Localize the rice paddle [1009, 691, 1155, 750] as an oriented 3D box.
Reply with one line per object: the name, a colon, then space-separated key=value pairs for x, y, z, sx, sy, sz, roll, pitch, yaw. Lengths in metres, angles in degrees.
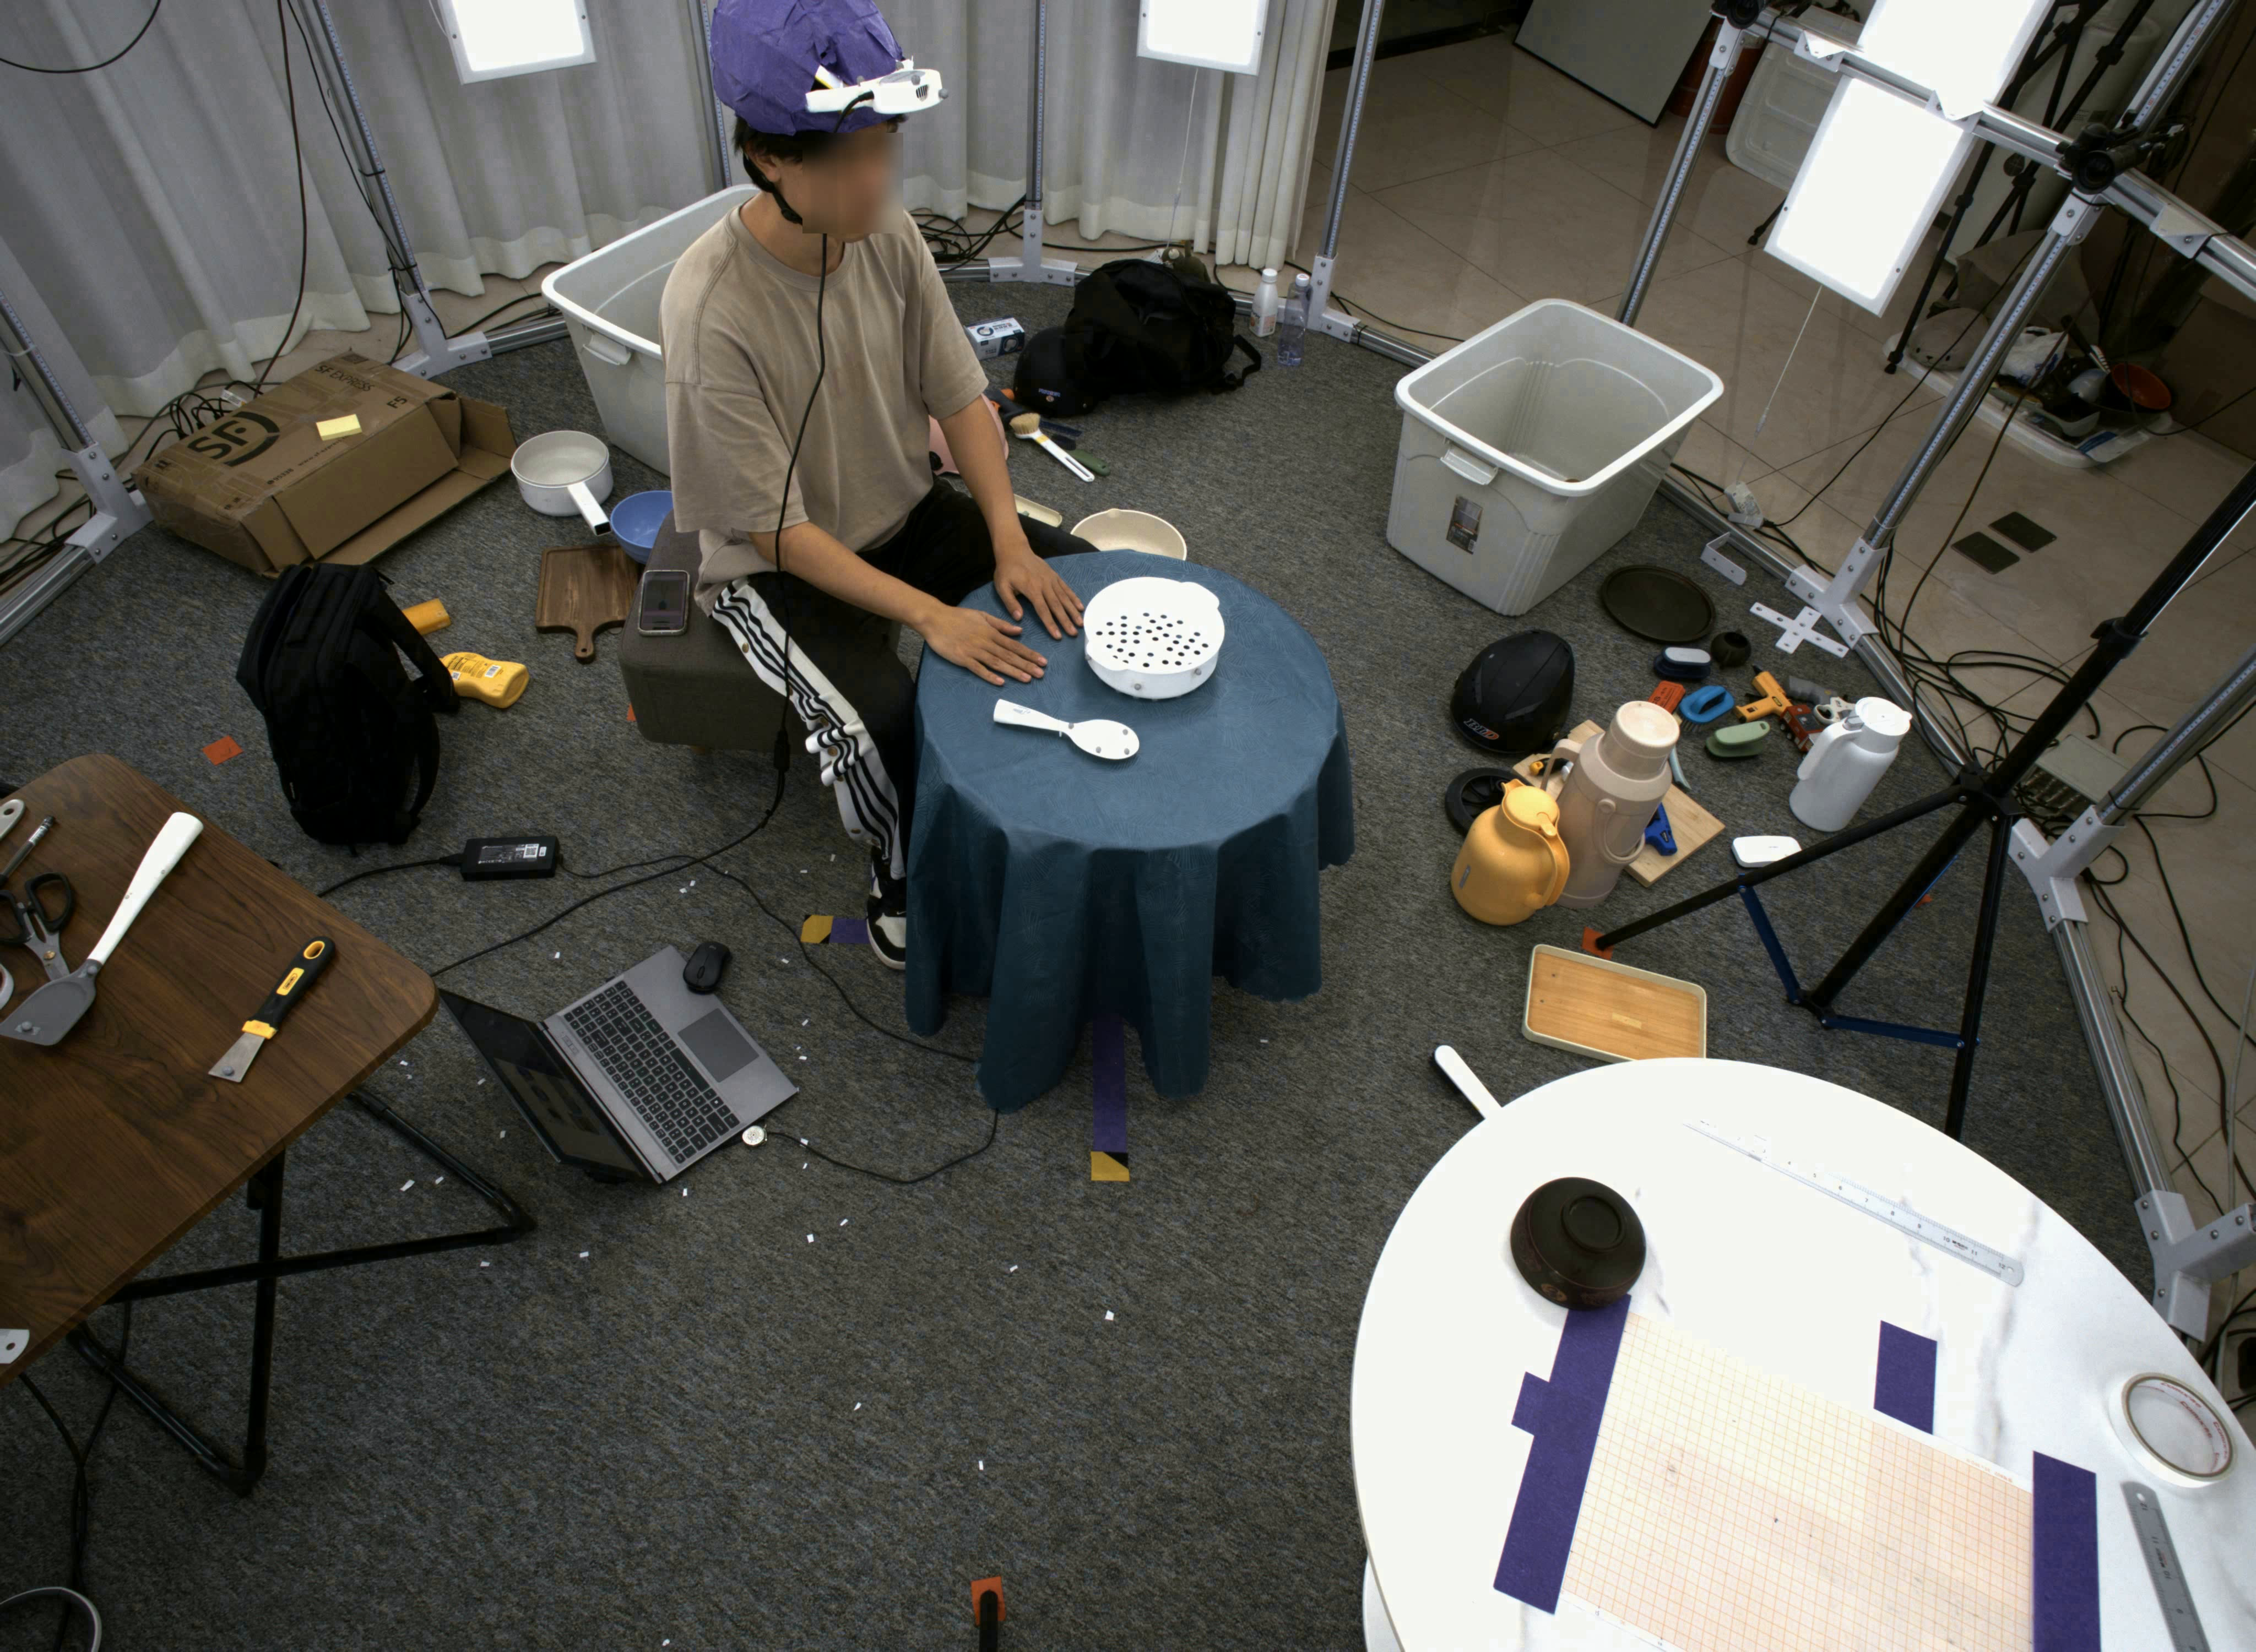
rice paddle: x=-0.062 y=-0.146 z=1.753 sx=0.206 sy=0.029 sz=0.070 roll=15 pitch=50 yaw=8

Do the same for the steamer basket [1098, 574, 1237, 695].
steamer basket: x=0.054 y=-0.276 z=1.856 sx=0.205 sy=0.067 sz=0.233 roll=38 pitch=55 yaw=24
